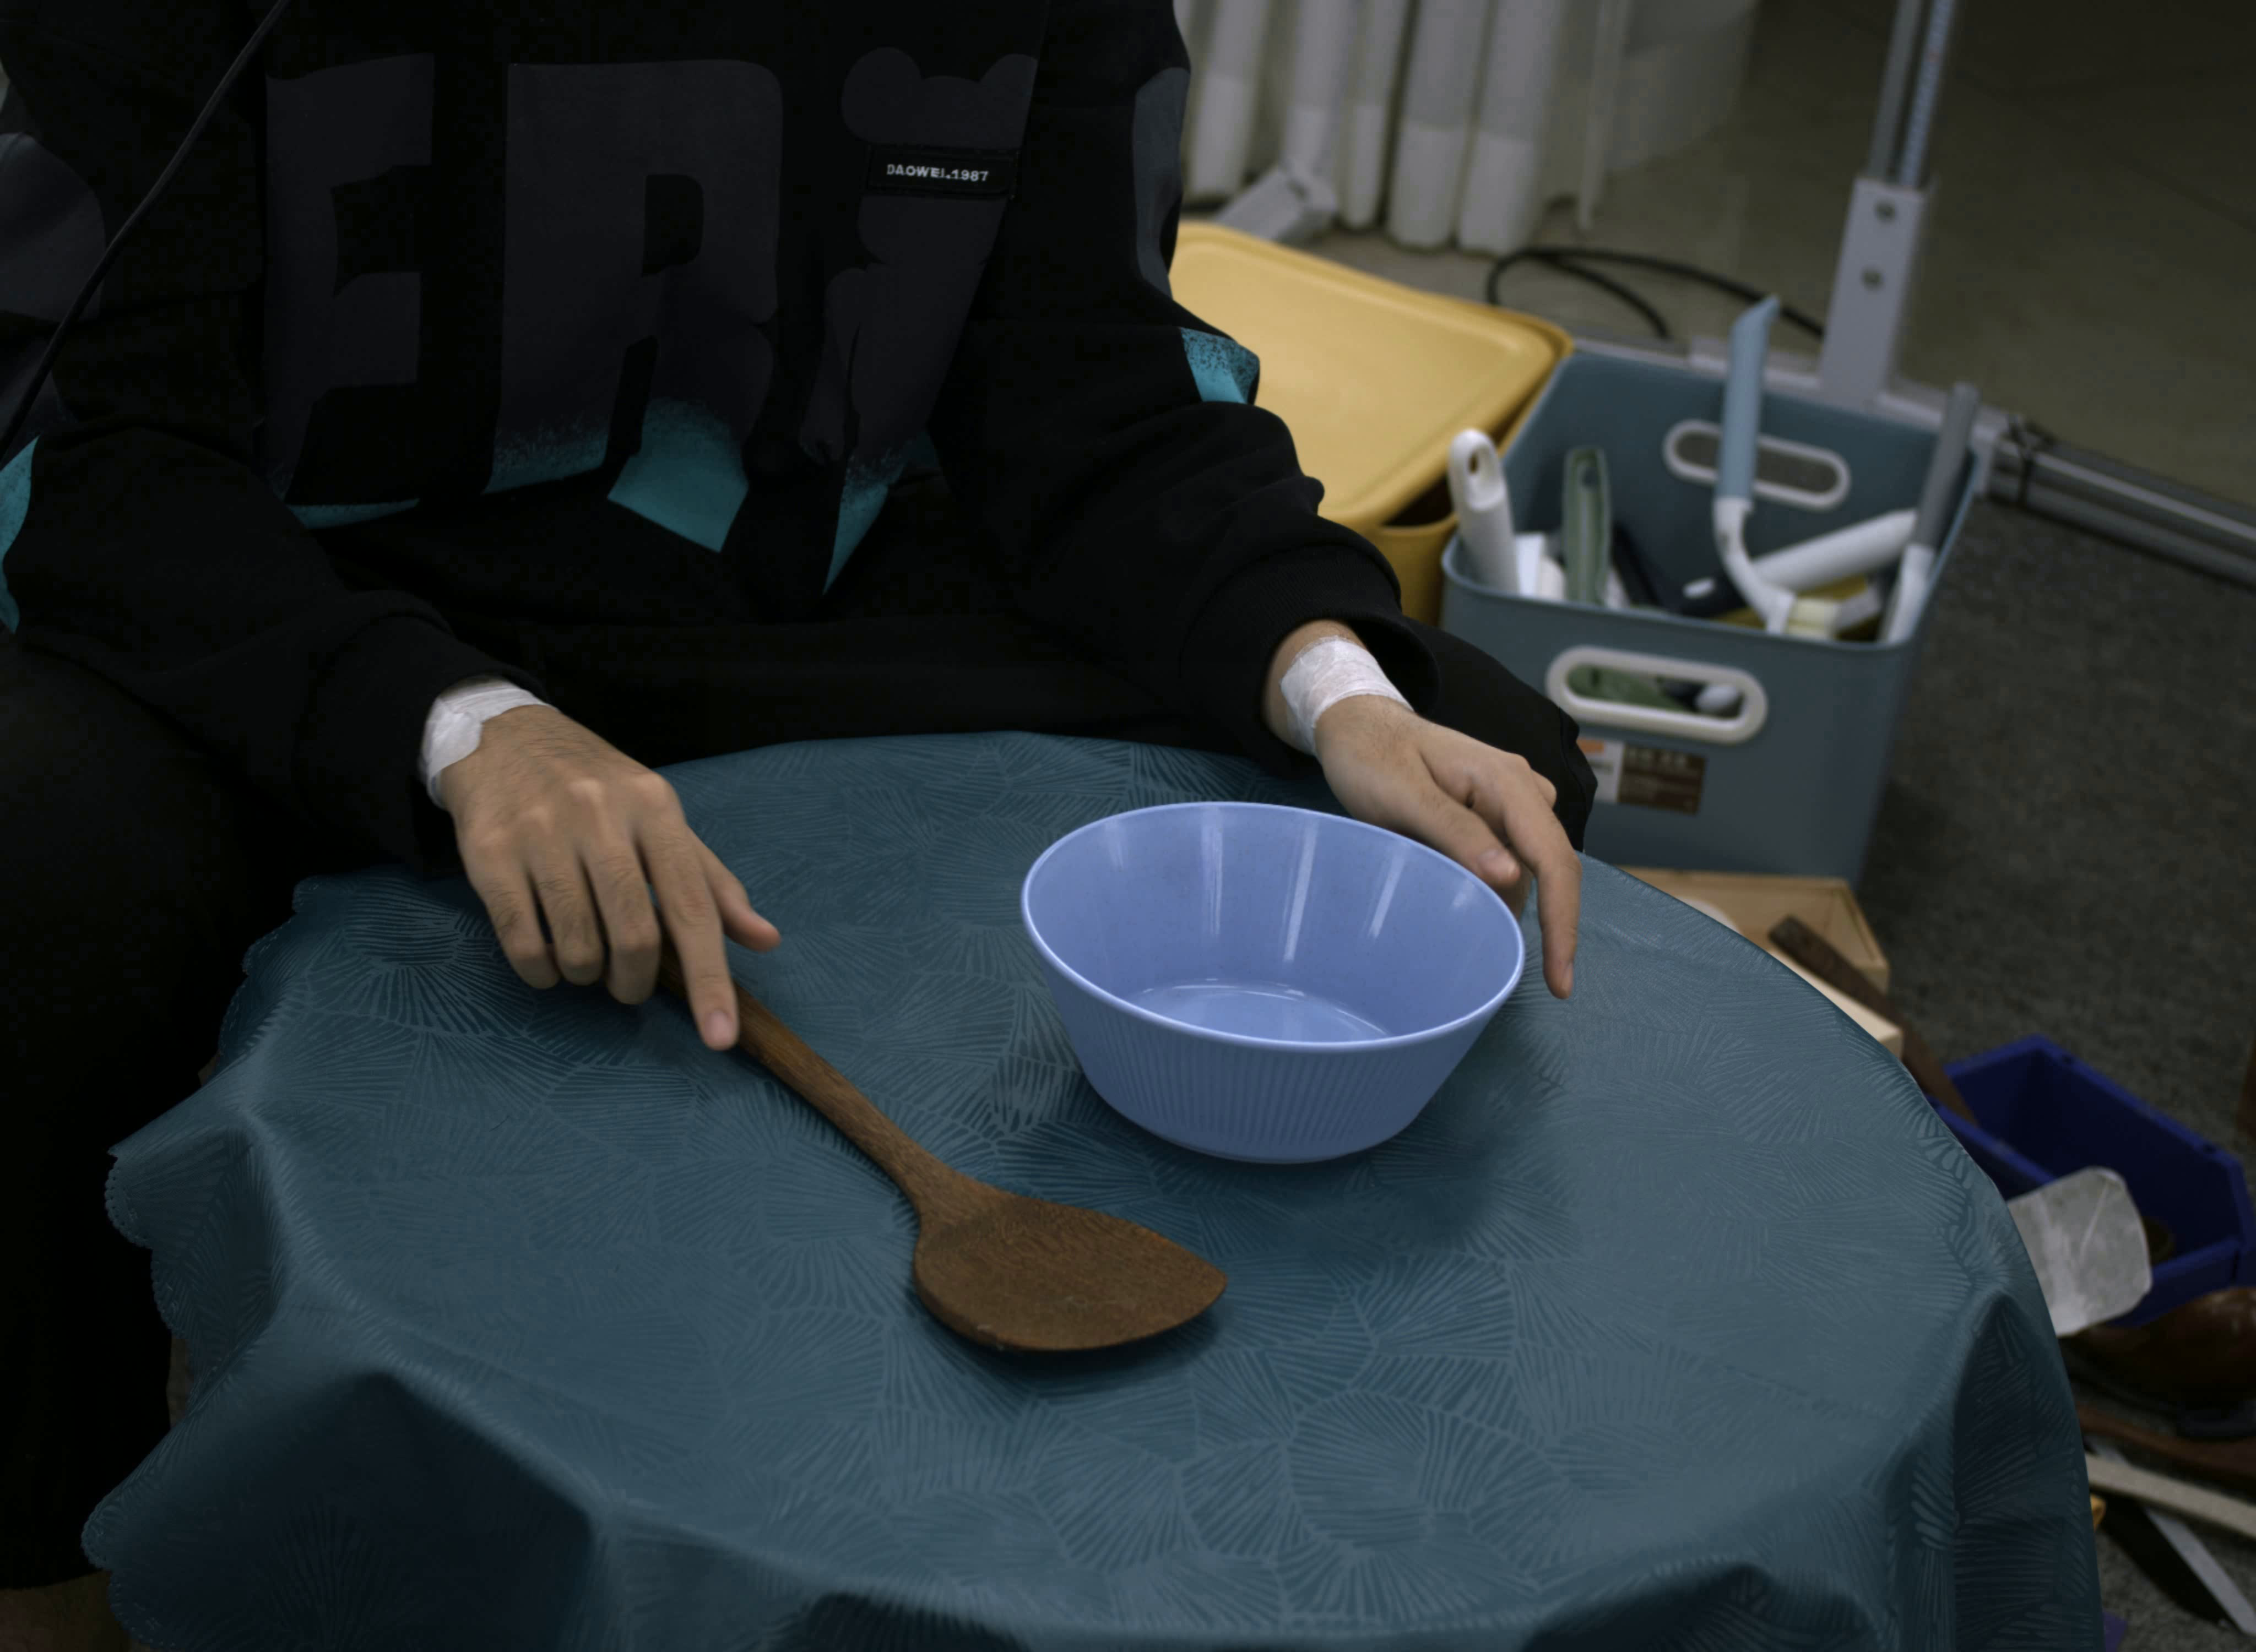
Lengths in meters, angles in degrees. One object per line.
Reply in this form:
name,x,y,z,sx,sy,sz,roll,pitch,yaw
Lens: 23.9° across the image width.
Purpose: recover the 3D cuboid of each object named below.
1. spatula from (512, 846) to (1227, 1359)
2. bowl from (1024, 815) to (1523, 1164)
spatula,-0.109,0.087,1.833,0.095,0.016,0.389,-13,32,-34
bowl,0.047,0.062,1.856,0.175,0.070,0.177,5,25,-3
